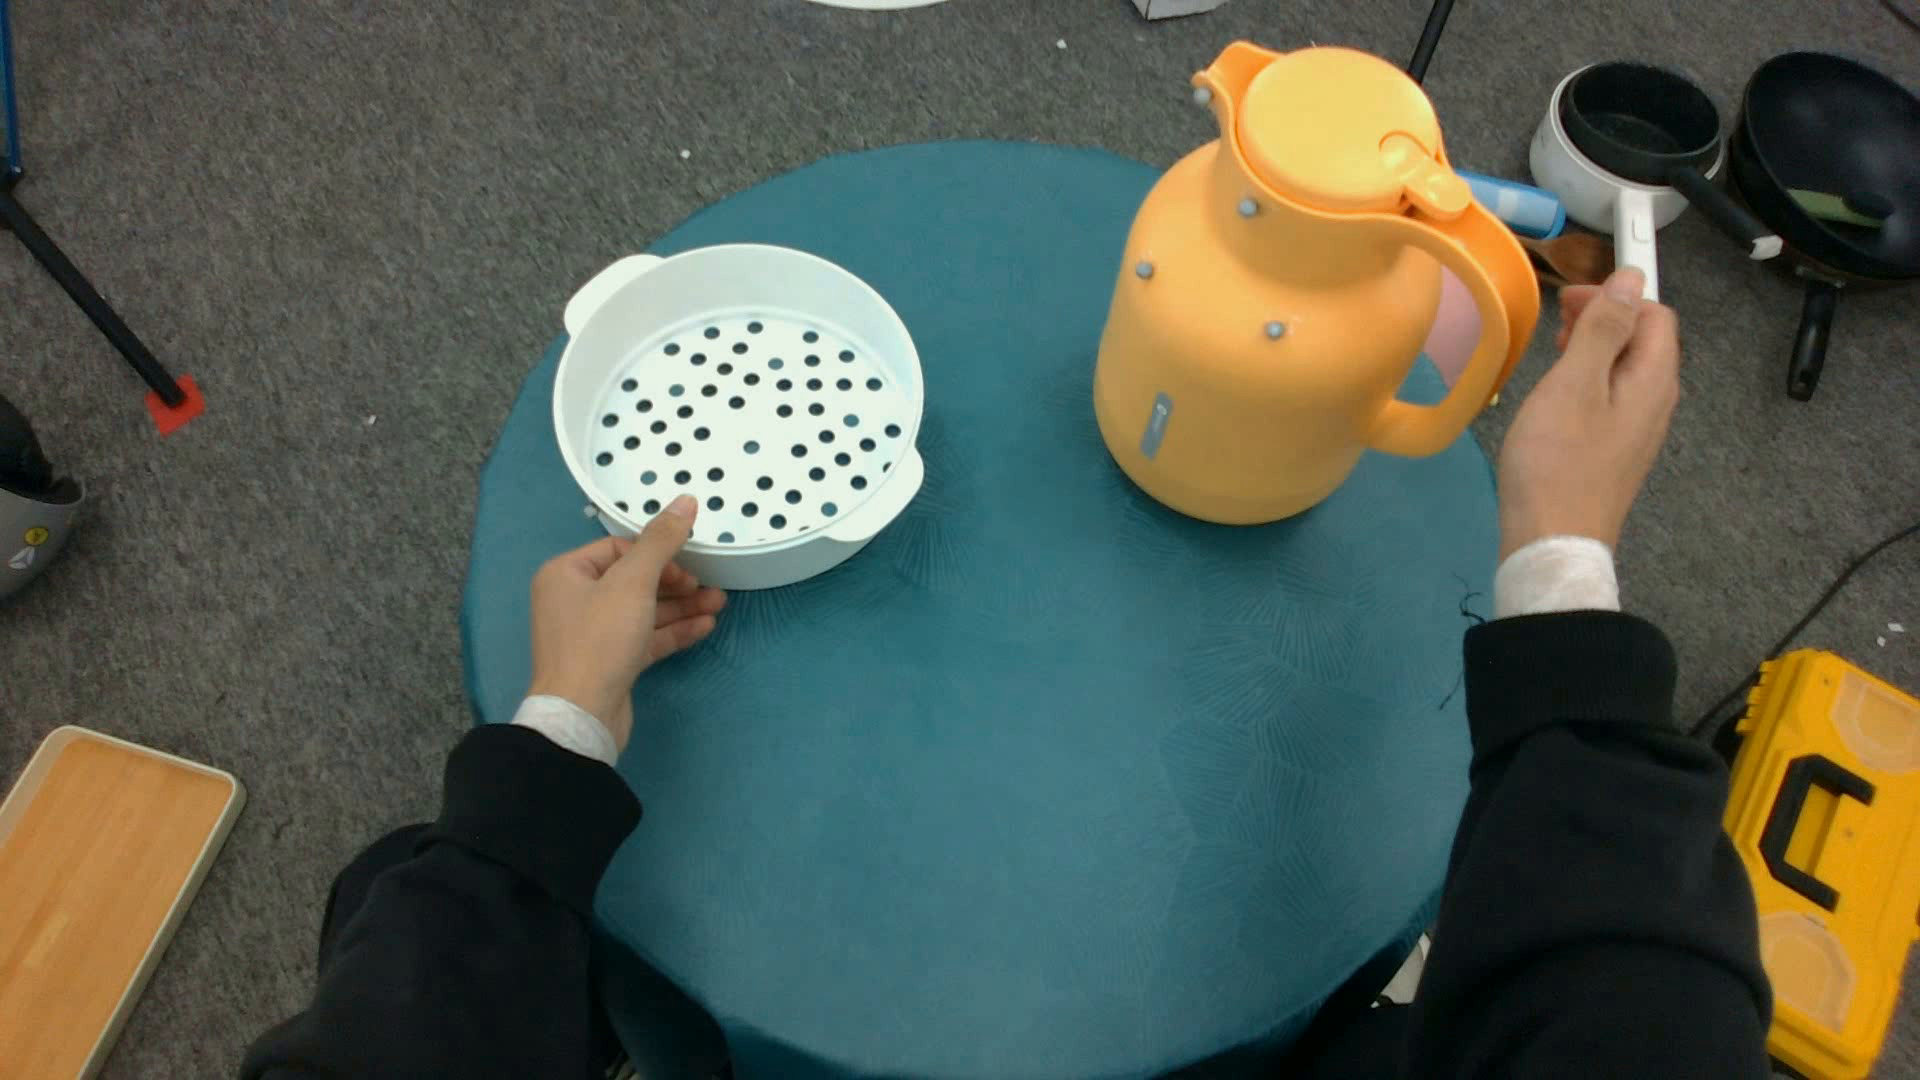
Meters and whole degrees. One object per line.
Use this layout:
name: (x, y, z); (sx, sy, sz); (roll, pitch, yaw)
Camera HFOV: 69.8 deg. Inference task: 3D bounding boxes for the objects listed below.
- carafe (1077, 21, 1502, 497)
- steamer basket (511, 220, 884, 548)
carafe: (0.164, -0.130, 0.716); (0.202, 0.259, 0.164); (42, 70, 18)
steamer basket: (-0.142, -0.088, 0.771); (0.230, 0.069, 0.203); (33, 61, 22)
